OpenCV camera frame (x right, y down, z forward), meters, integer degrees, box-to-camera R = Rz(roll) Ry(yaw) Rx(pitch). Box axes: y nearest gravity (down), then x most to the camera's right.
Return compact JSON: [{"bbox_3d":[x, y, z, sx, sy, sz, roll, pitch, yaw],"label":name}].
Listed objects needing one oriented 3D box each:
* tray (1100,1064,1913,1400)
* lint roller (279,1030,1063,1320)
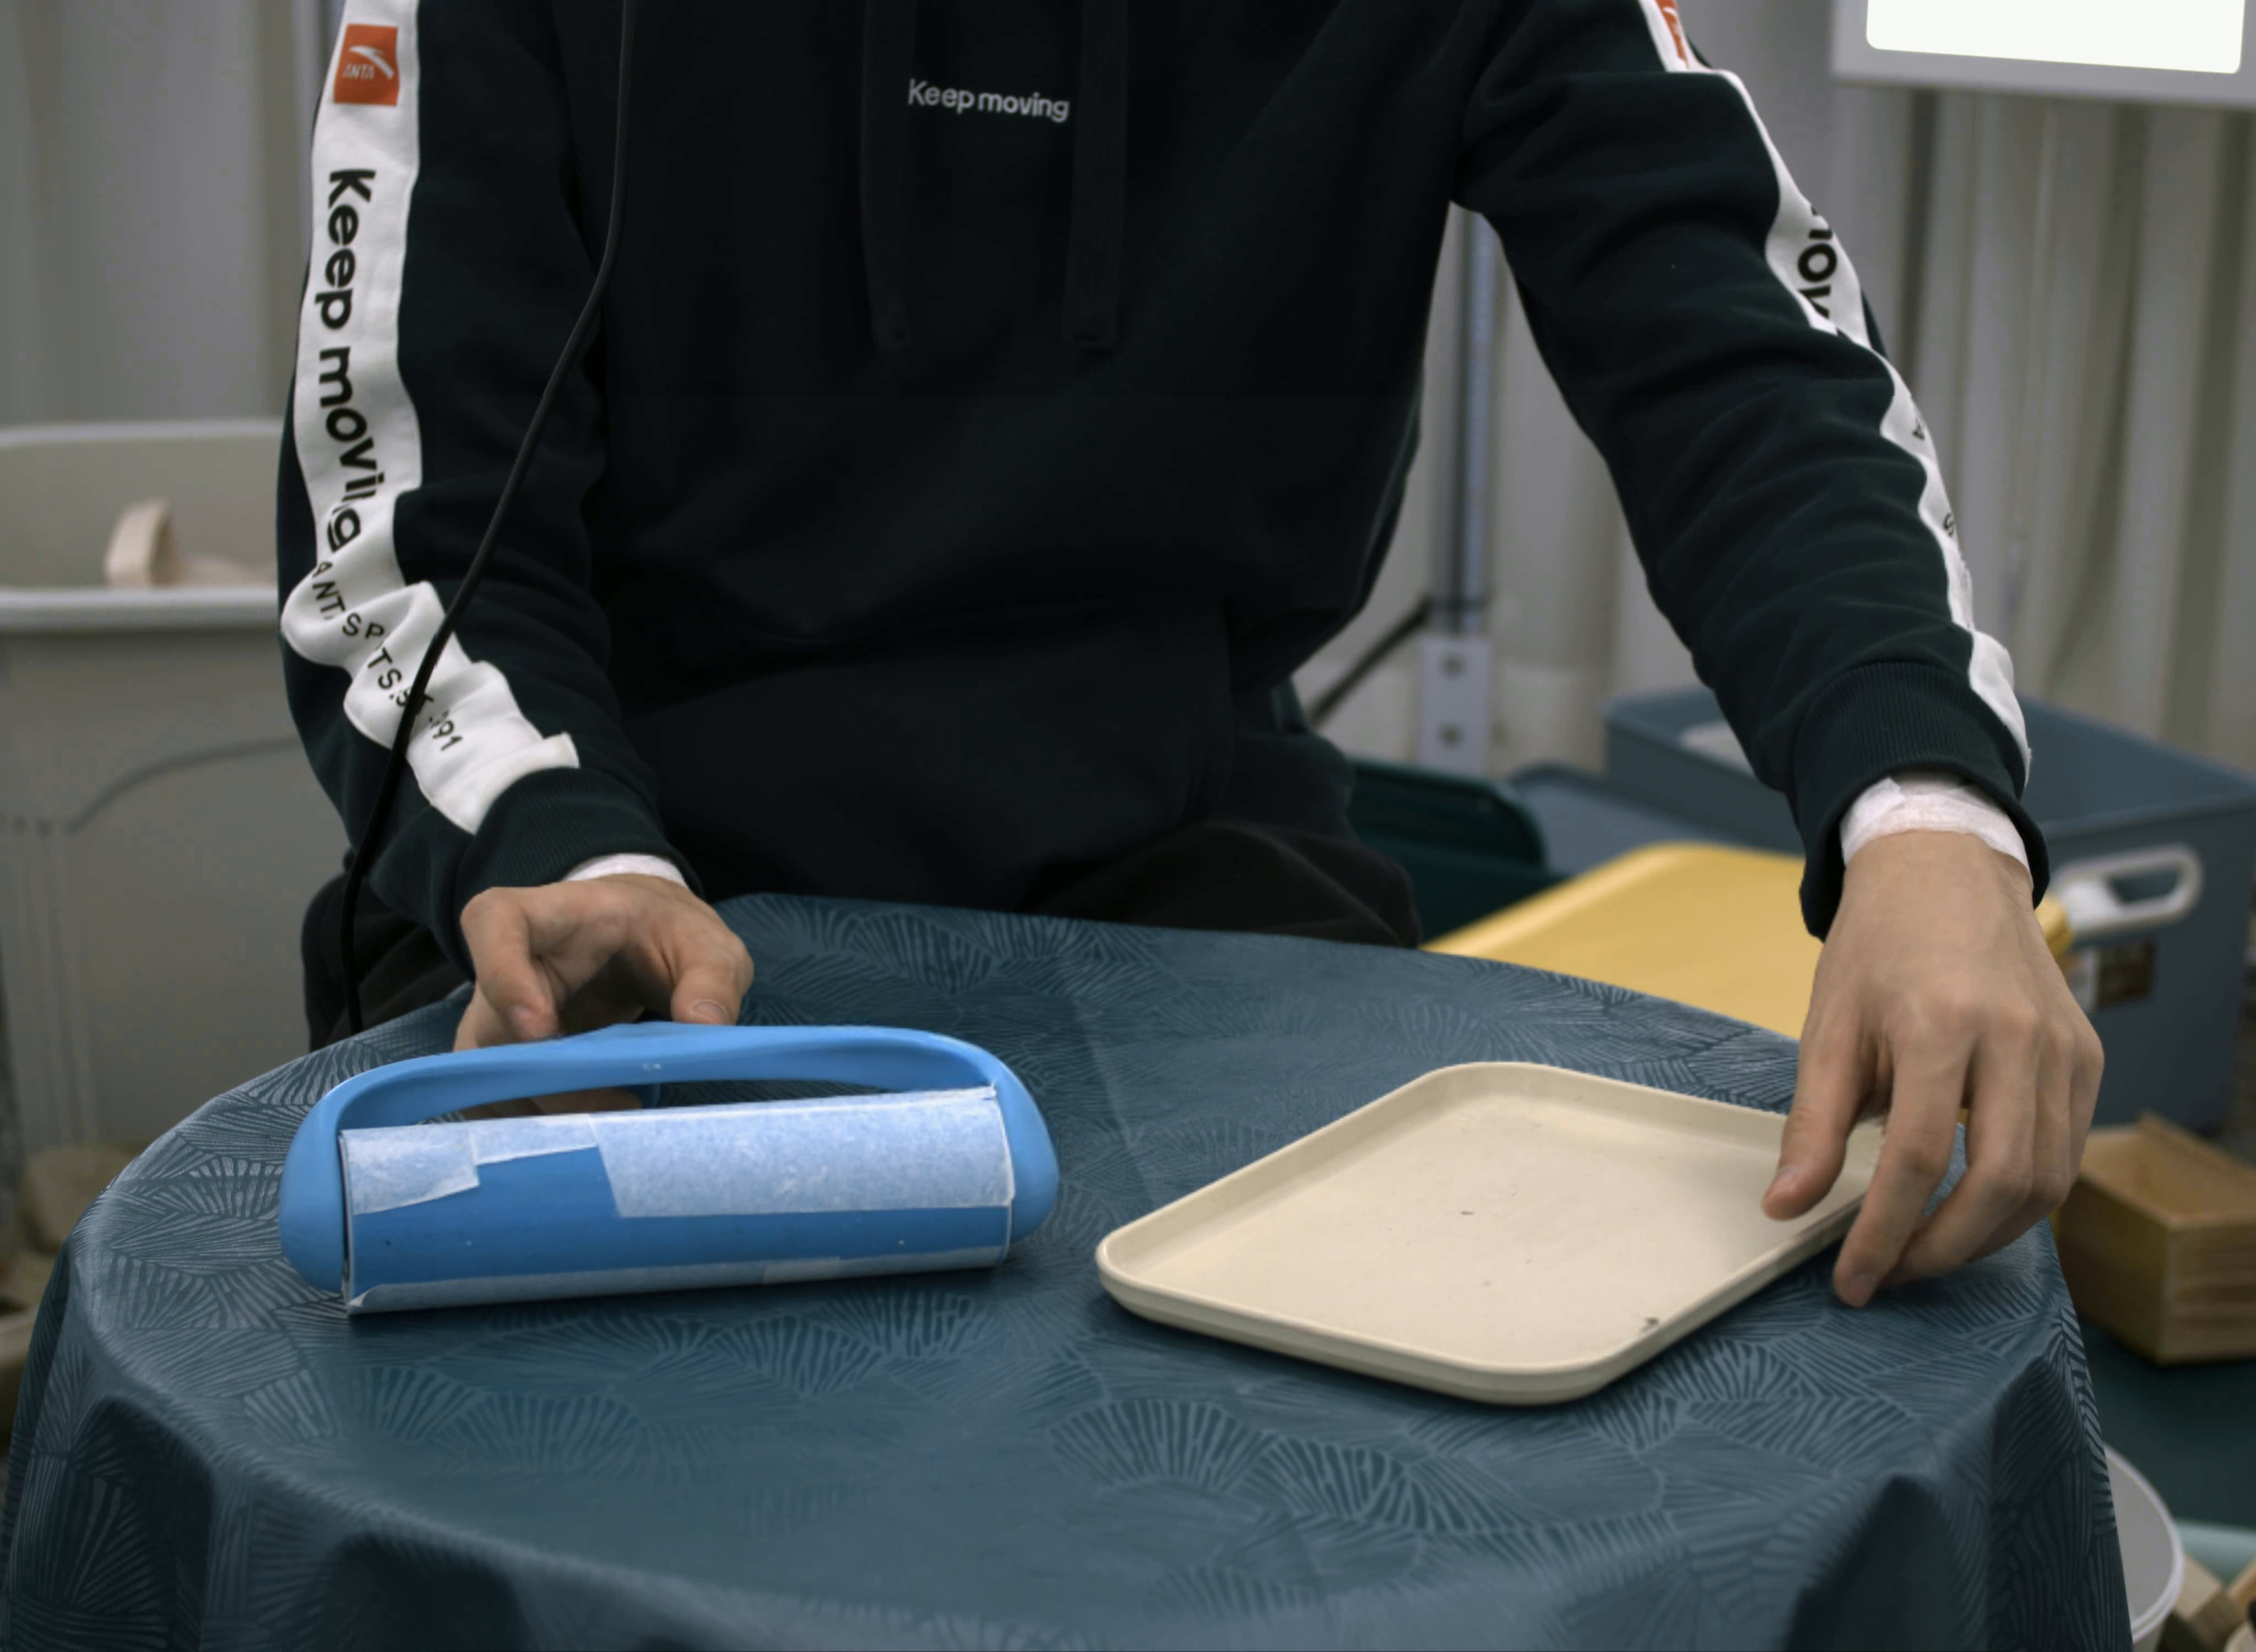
[{"bbox_3d":[0.115,0.119,1.566,0.169,0.017,0.240,10,18,32],"label":"tray"},{"bbox_3d":[-0.147,0.092,1.582,0.229,0.068,0.178,-5,17,-15],"label":"lint roller"}]
